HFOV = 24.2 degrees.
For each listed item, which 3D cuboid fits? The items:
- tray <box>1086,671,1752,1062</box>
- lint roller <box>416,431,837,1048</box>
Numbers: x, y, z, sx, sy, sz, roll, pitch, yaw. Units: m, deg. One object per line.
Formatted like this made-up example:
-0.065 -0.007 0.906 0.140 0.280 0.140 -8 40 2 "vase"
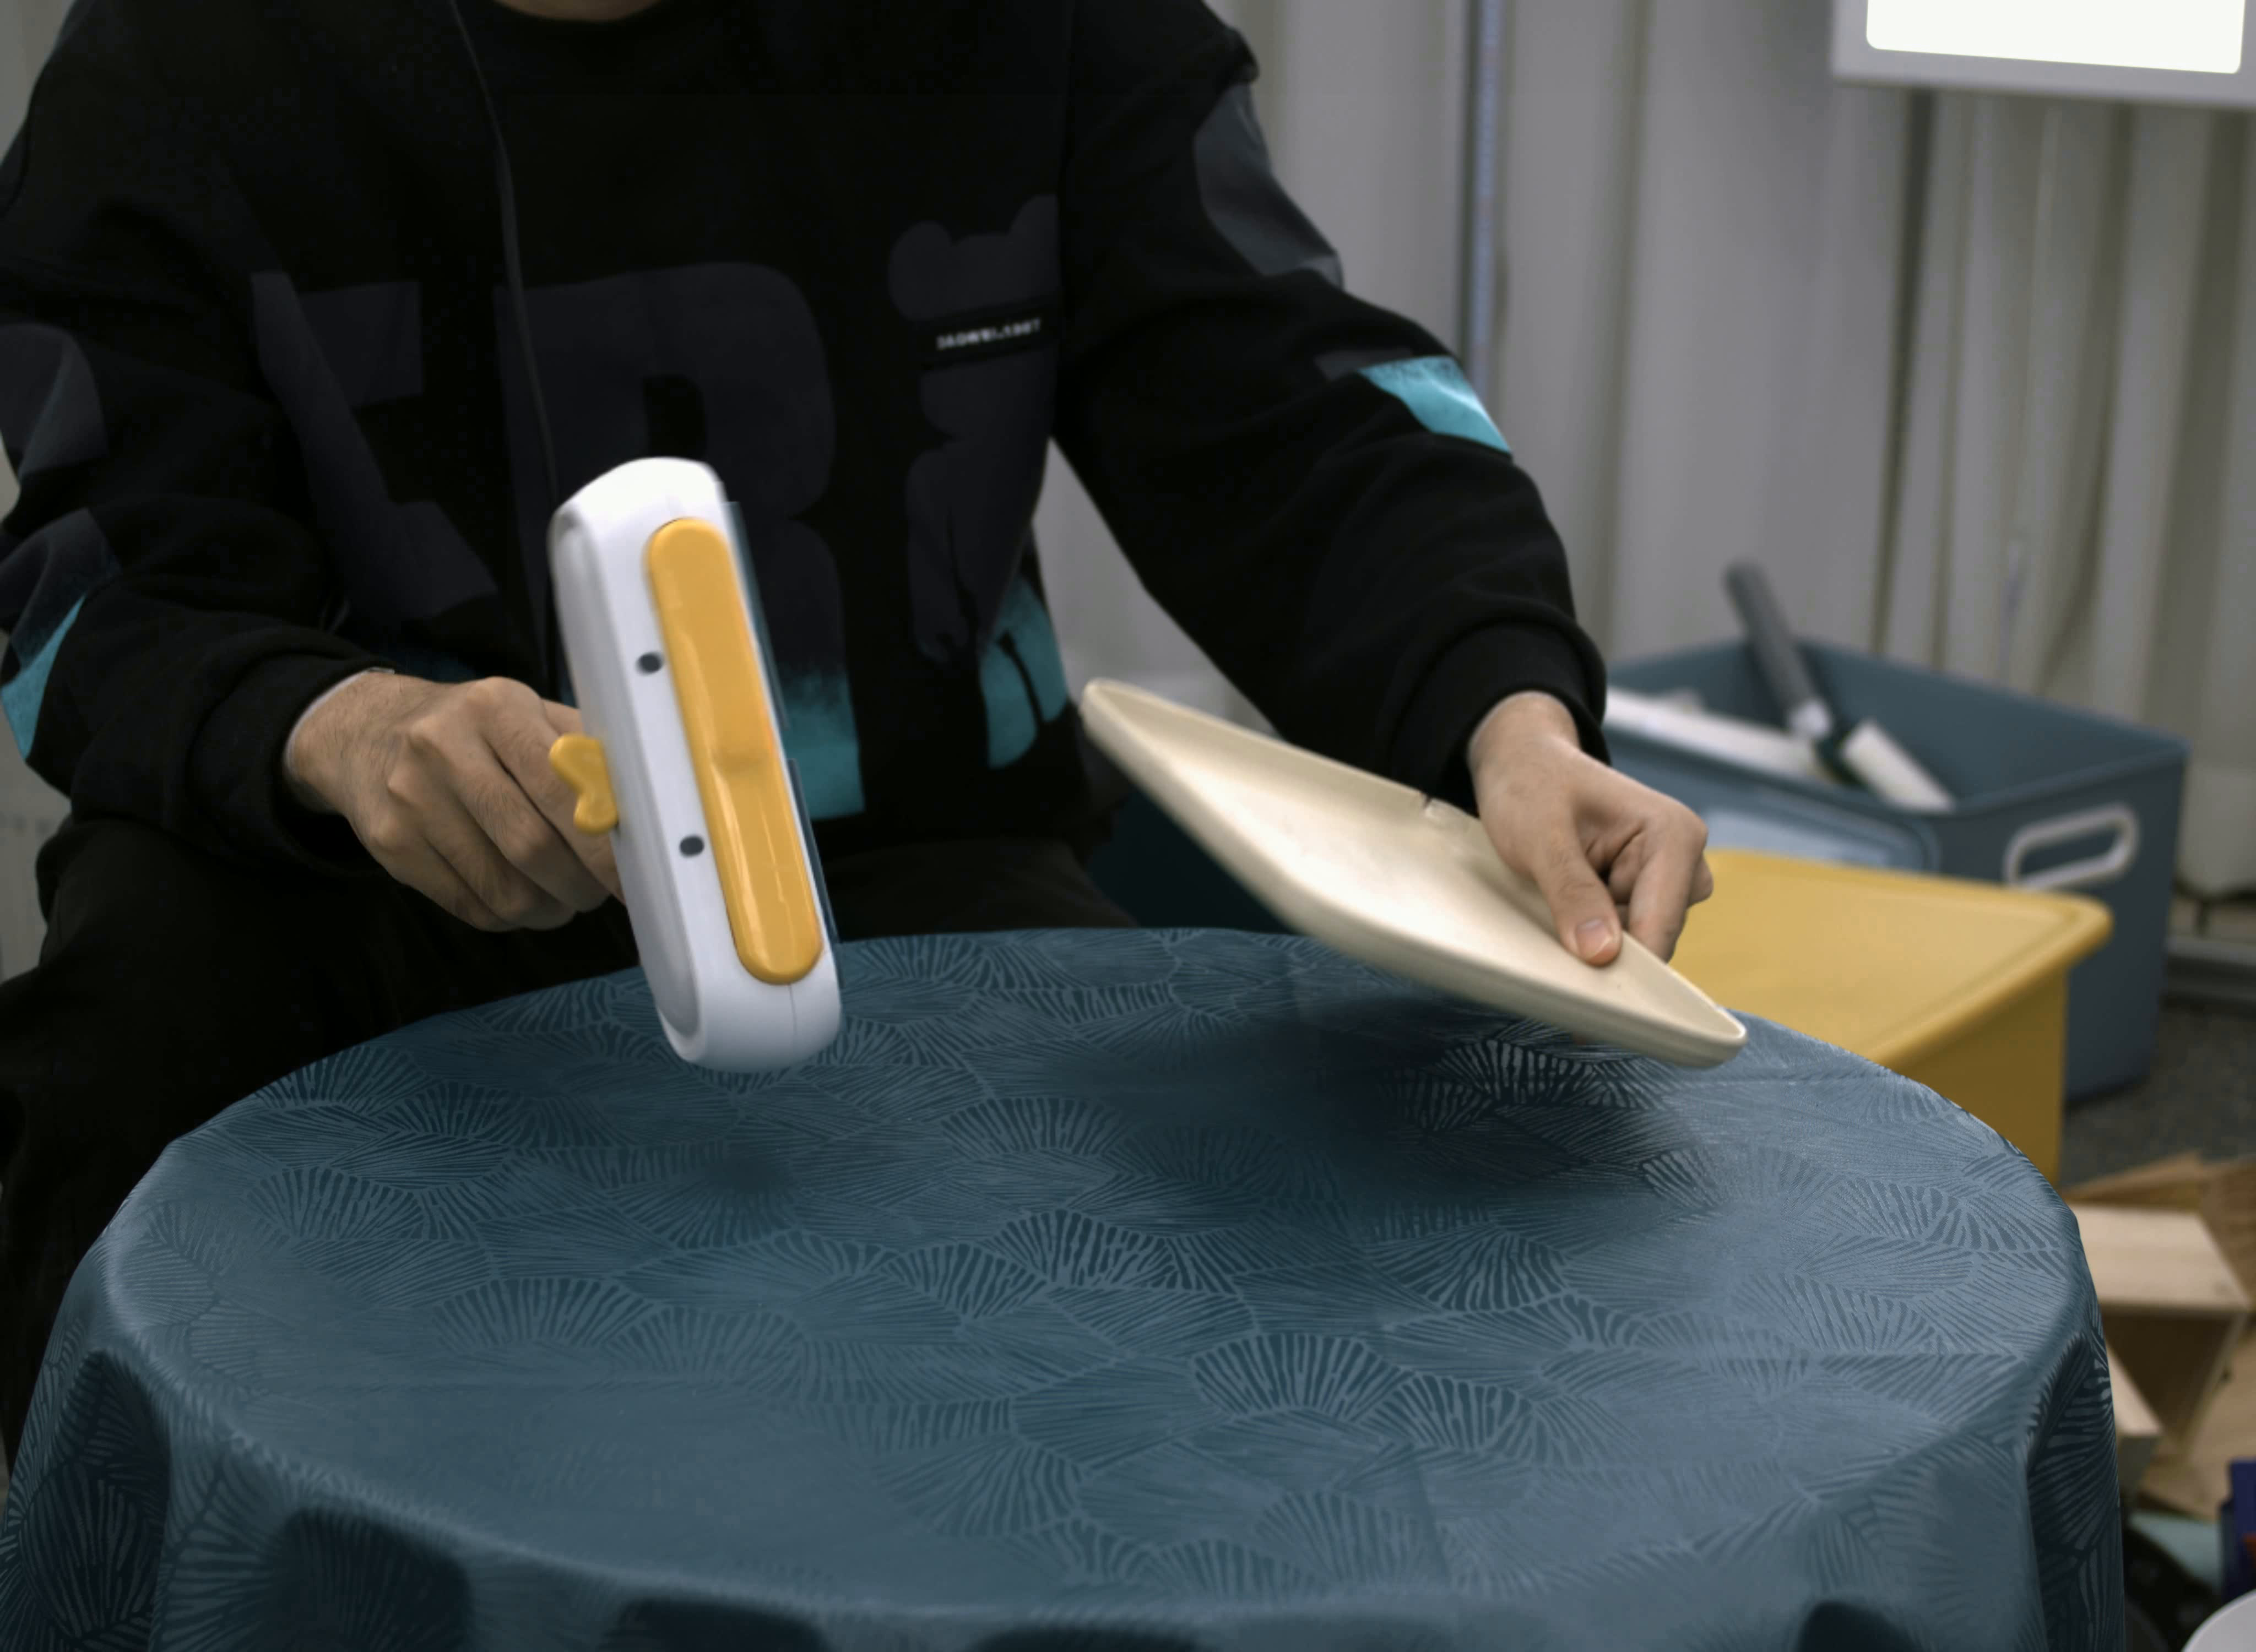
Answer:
0.088 0.013 1.685 0.172 0.017 0.237 20 10 -26 "tray"
-0.167 -0.011 1.667 0.074 0.193 0.191 -14 -7 -31 "lint roller"
